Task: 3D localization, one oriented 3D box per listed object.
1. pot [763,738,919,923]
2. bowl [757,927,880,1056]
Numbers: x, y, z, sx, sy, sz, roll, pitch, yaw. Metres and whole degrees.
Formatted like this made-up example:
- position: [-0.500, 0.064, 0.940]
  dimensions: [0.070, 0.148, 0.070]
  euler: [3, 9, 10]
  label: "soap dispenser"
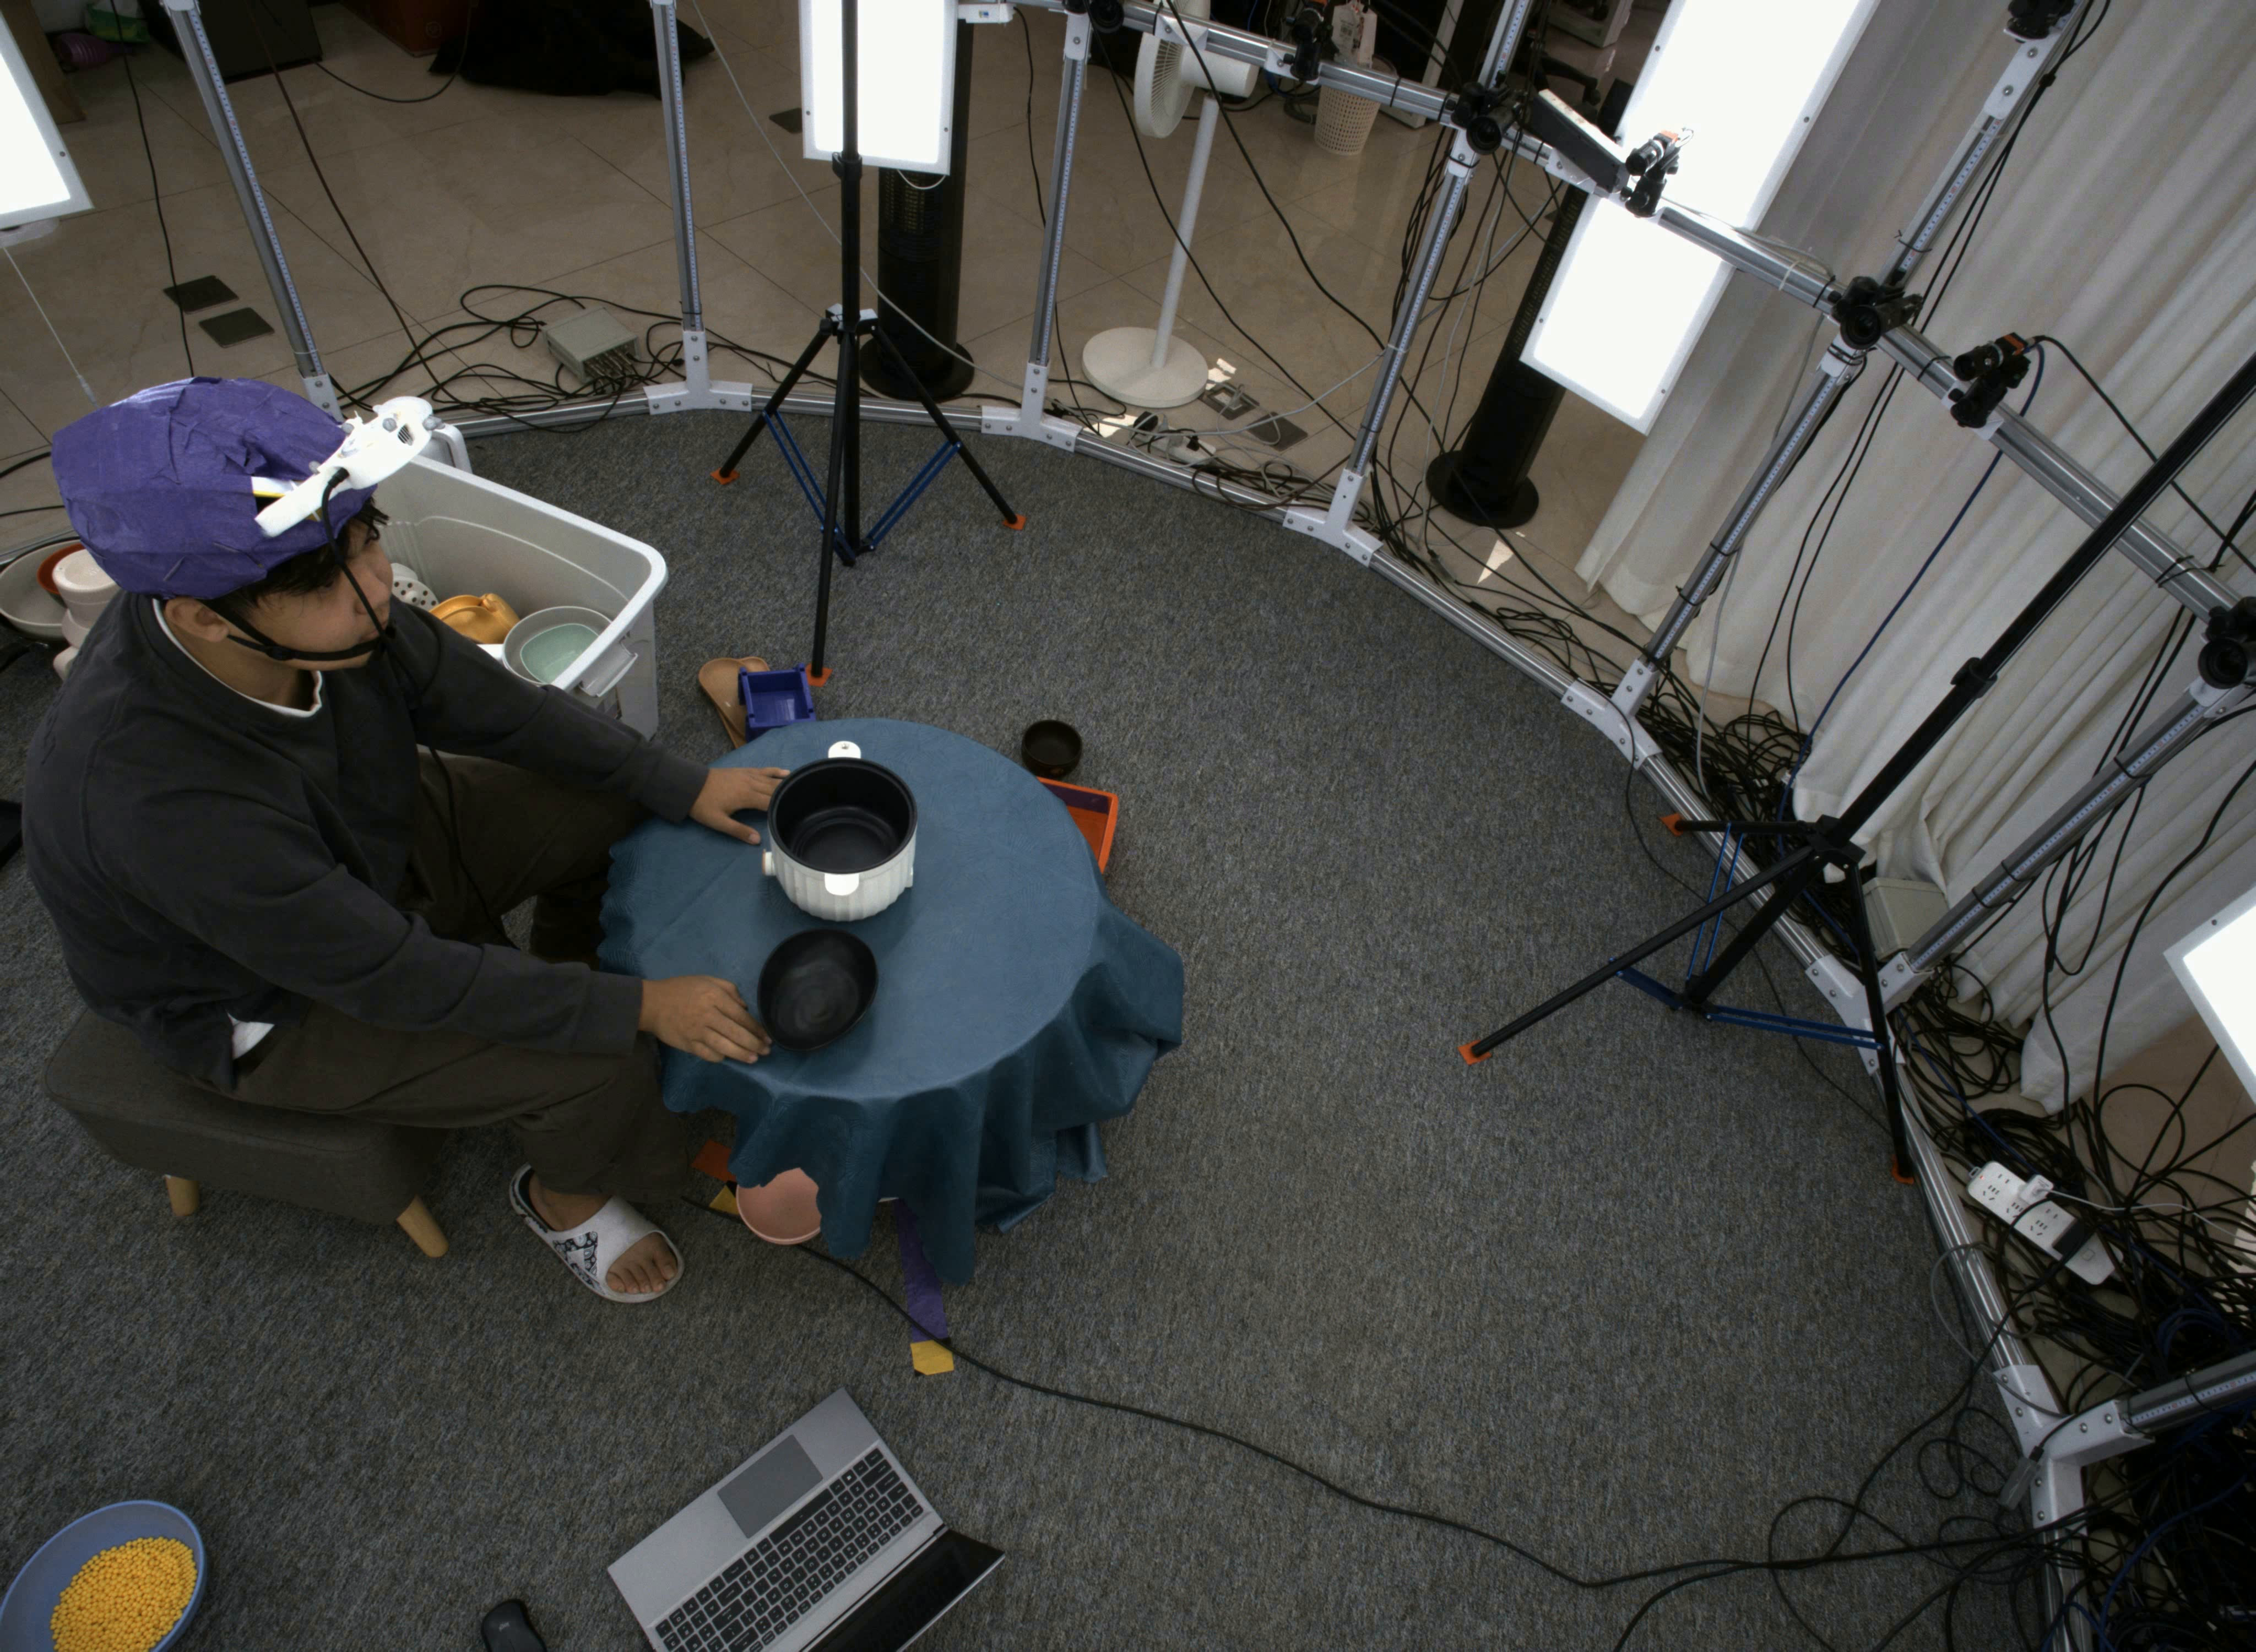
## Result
- position: [-0.361, 0.024, 1.629]
  dimensions: [0.191, 0.145, 0.235]
  euler: [2, 52, -15]
  label: "pot"
- position: [-0.366, 0.203, 1.541]
  dimensions: [0.136, 0.068, 0.168]
  euler: [16, 53, -1]
  label: "bowl"
